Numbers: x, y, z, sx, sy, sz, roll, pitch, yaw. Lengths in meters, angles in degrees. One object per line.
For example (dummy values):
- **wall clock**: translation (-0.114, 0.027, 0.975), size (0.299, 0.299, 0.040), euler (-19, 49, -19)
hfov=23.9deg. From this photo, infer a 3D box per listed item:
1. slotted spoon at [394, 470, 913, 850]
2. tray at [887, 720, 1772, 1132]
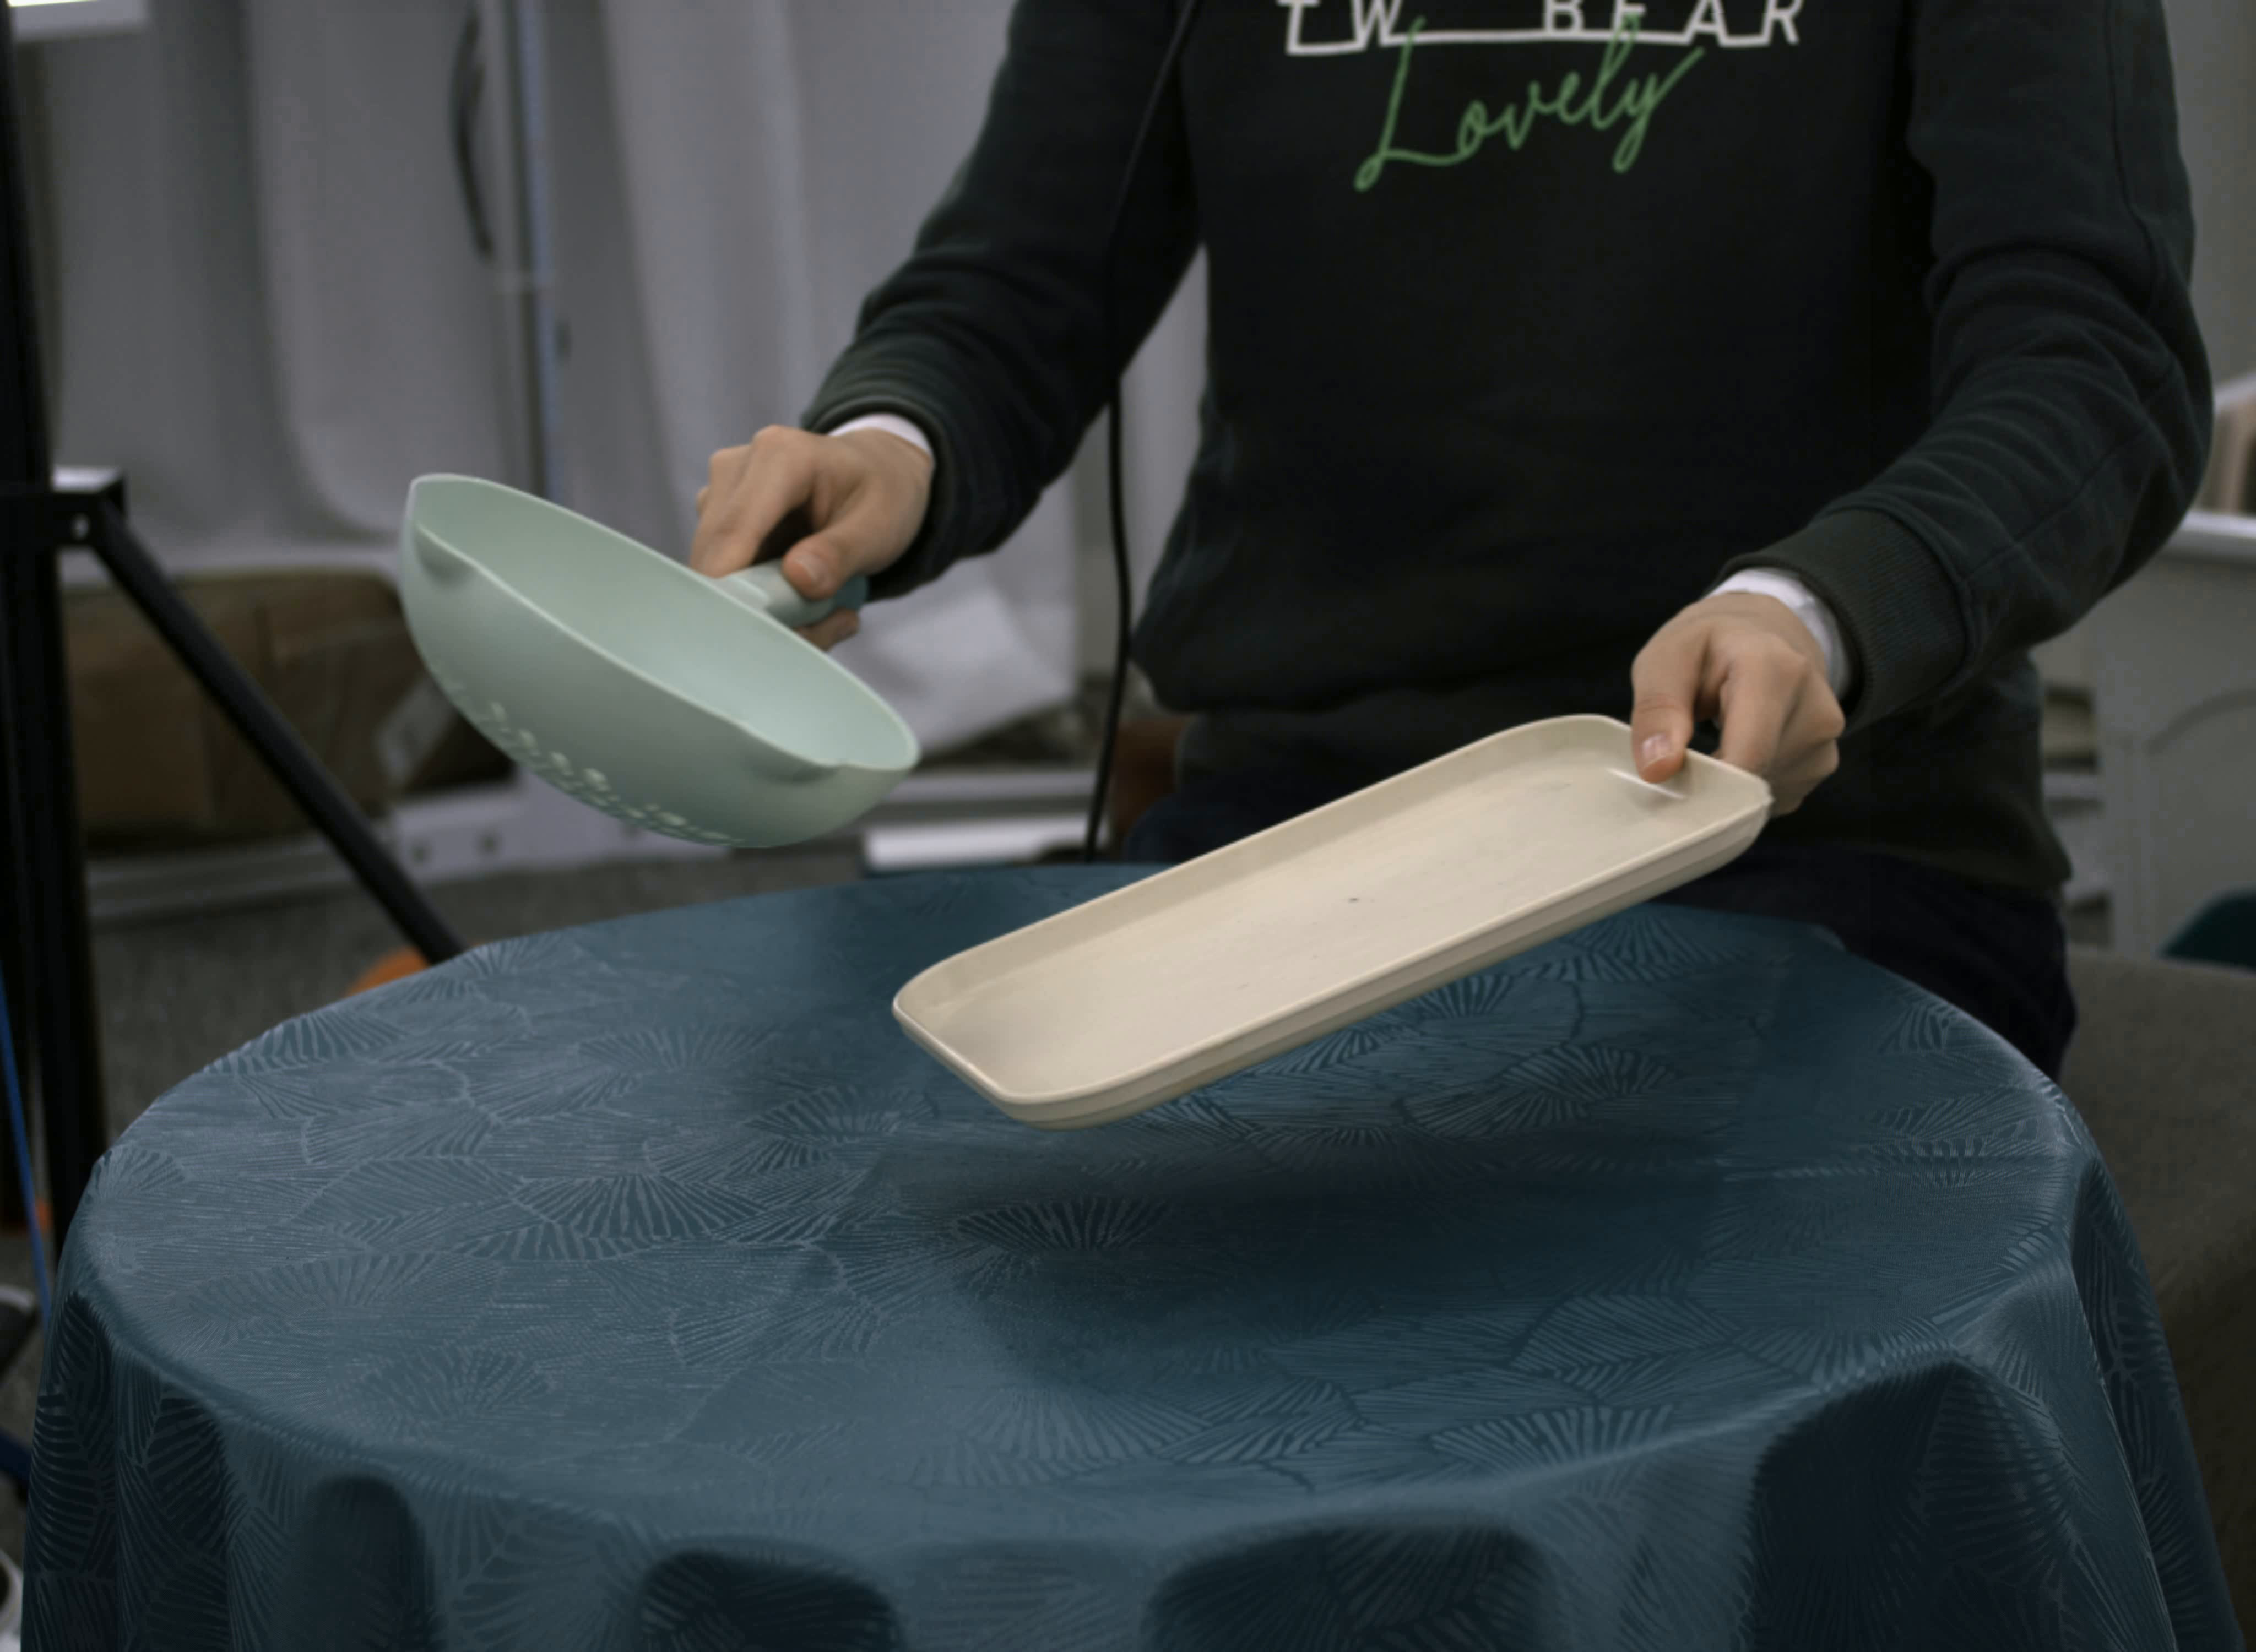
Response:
- **slotted spoon**: translation (-0.128, -0.062, 1.666), size (0.170, 0.076, 0.356), euler (32, 18, 4)
- **tray**: translation (0.057, 0.028, 1.528), size (0.237, 0.017, 0.174), euler (-22, 16, -12)
